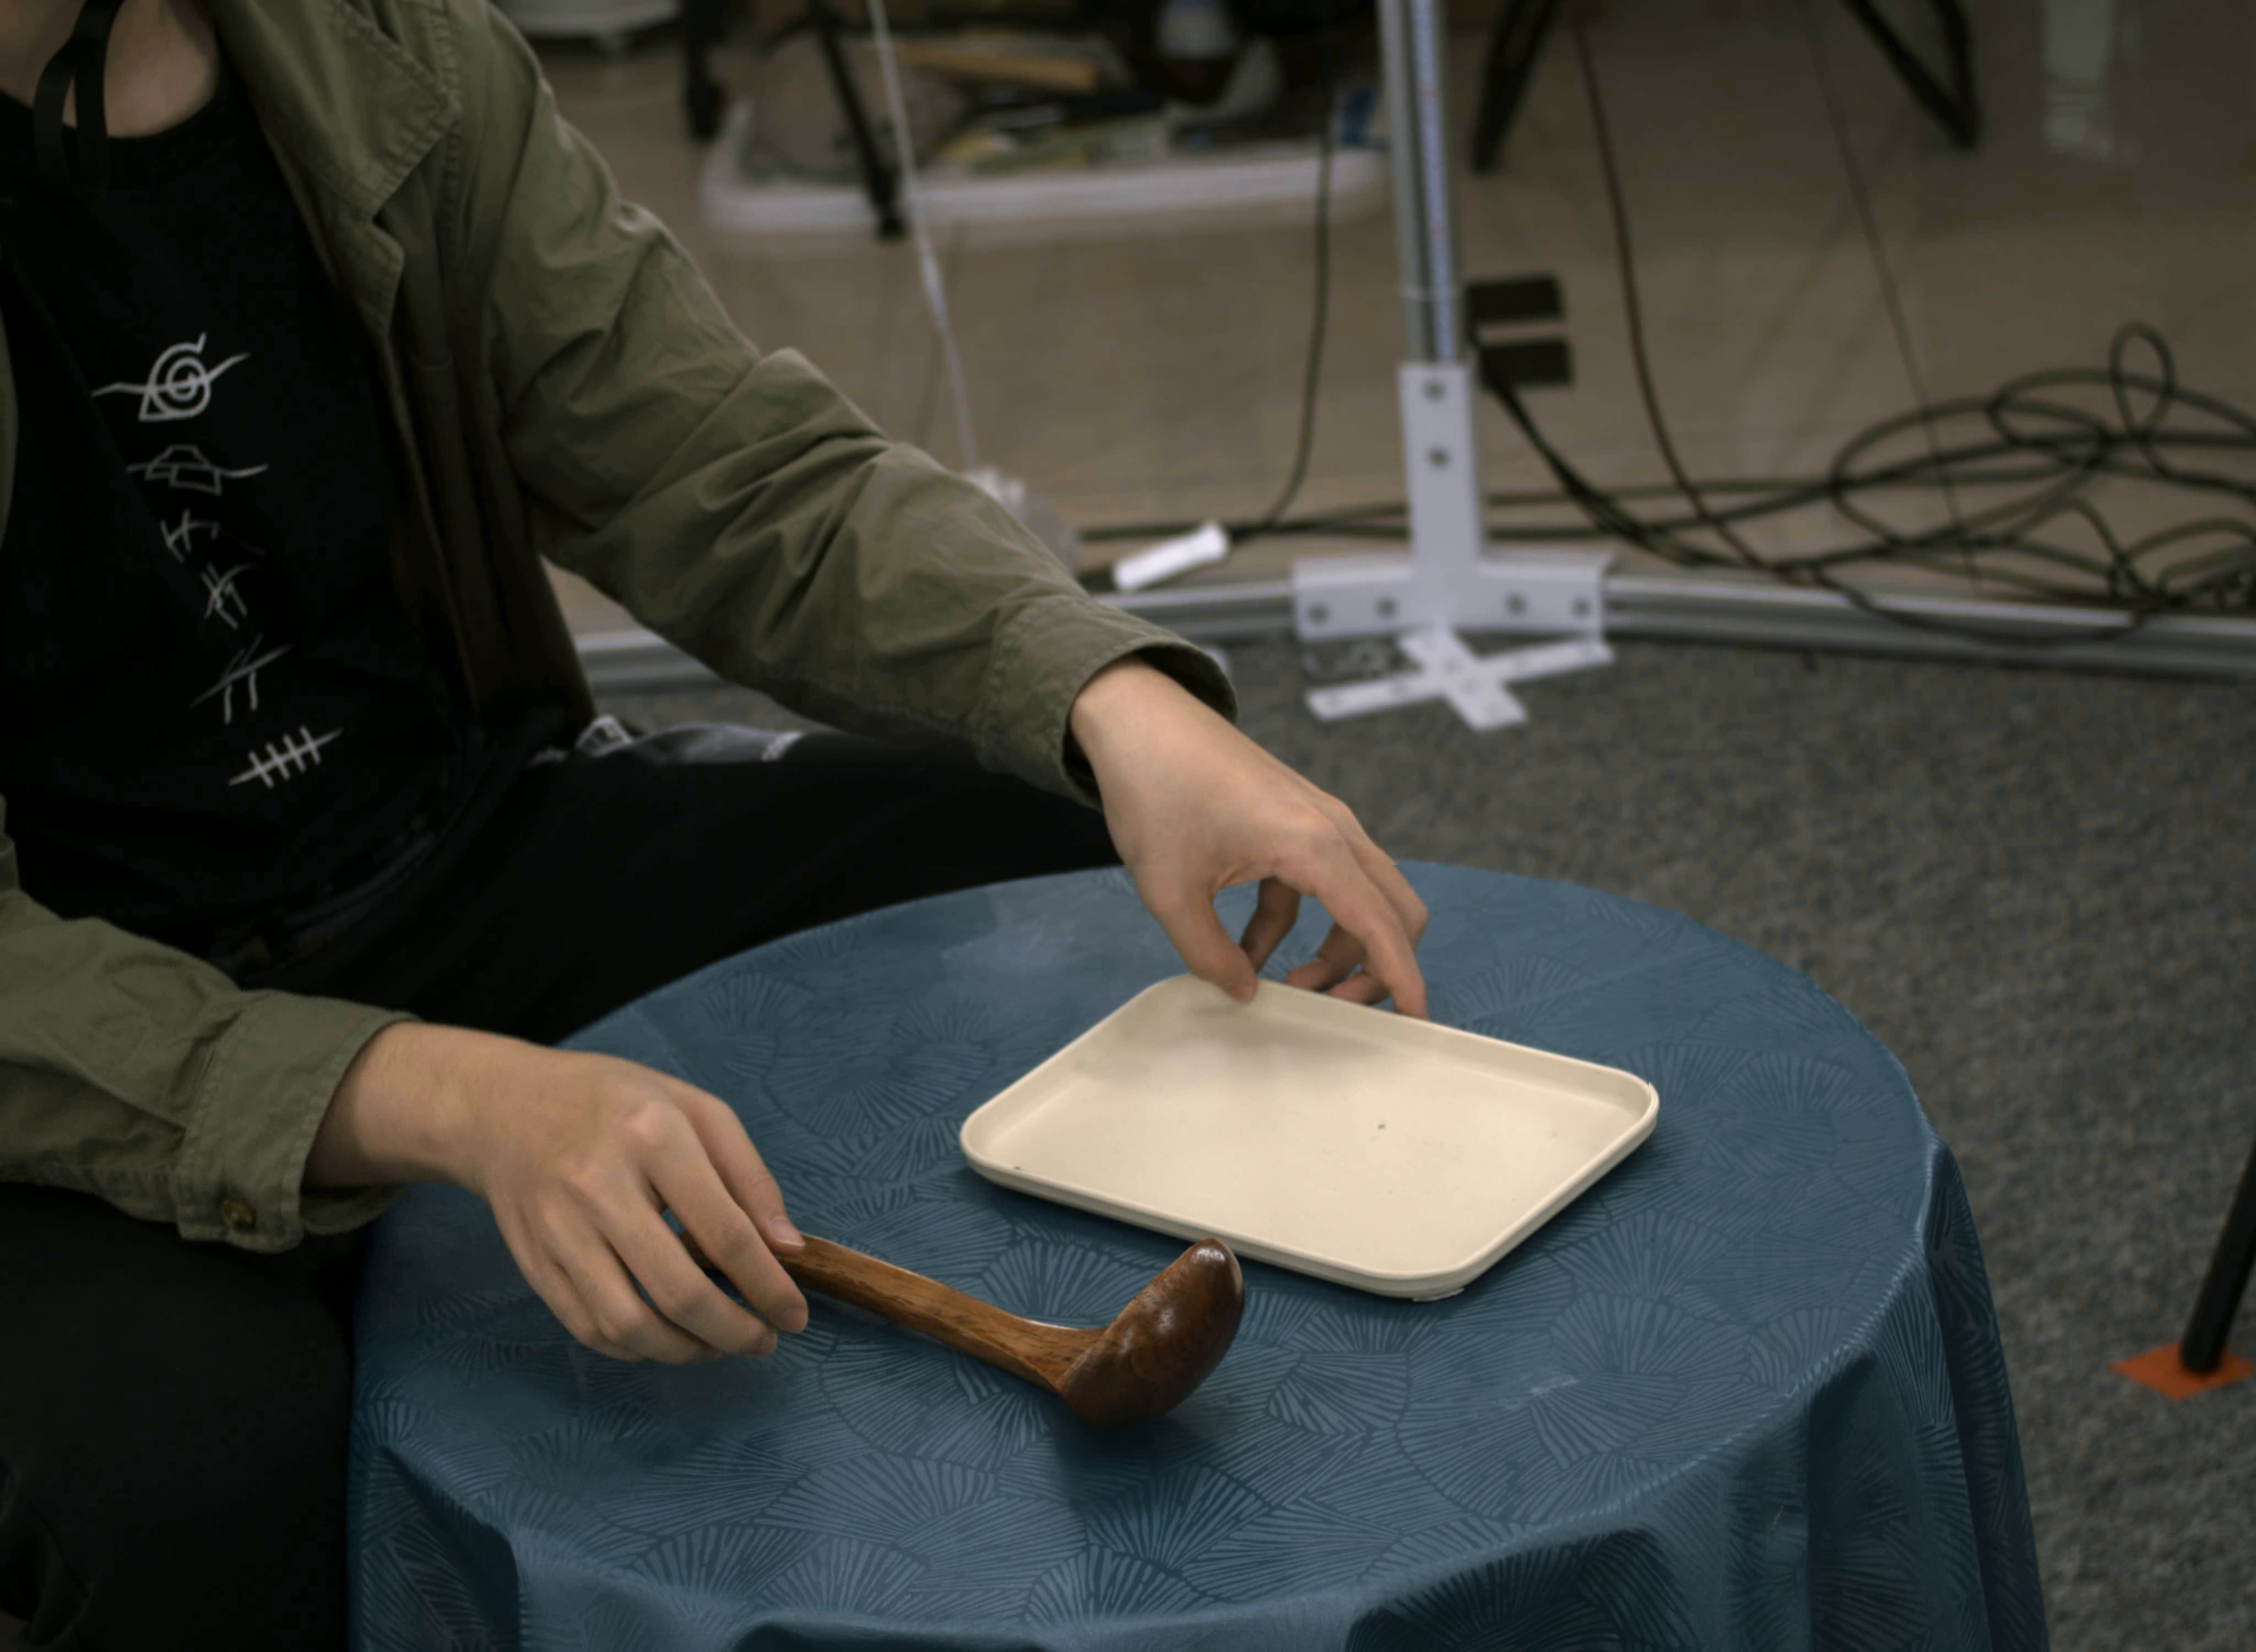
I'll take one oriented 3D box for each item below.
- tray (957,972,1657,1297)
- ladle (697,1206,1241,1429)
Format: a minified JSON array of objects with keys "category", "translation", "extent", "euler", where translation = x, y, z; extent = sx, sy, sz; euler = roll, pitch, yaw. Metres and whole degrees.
[{"category":"tray","translation":[0.067,0.117,2.158],"extent":[0.238,0.018,0.169],"euler":[14,32,36]},{"category":"ladle","translation":[-0.069,0.156,2.043],"extent":[0.272,0.078,0.081],"euler":[17,39,42]}]
